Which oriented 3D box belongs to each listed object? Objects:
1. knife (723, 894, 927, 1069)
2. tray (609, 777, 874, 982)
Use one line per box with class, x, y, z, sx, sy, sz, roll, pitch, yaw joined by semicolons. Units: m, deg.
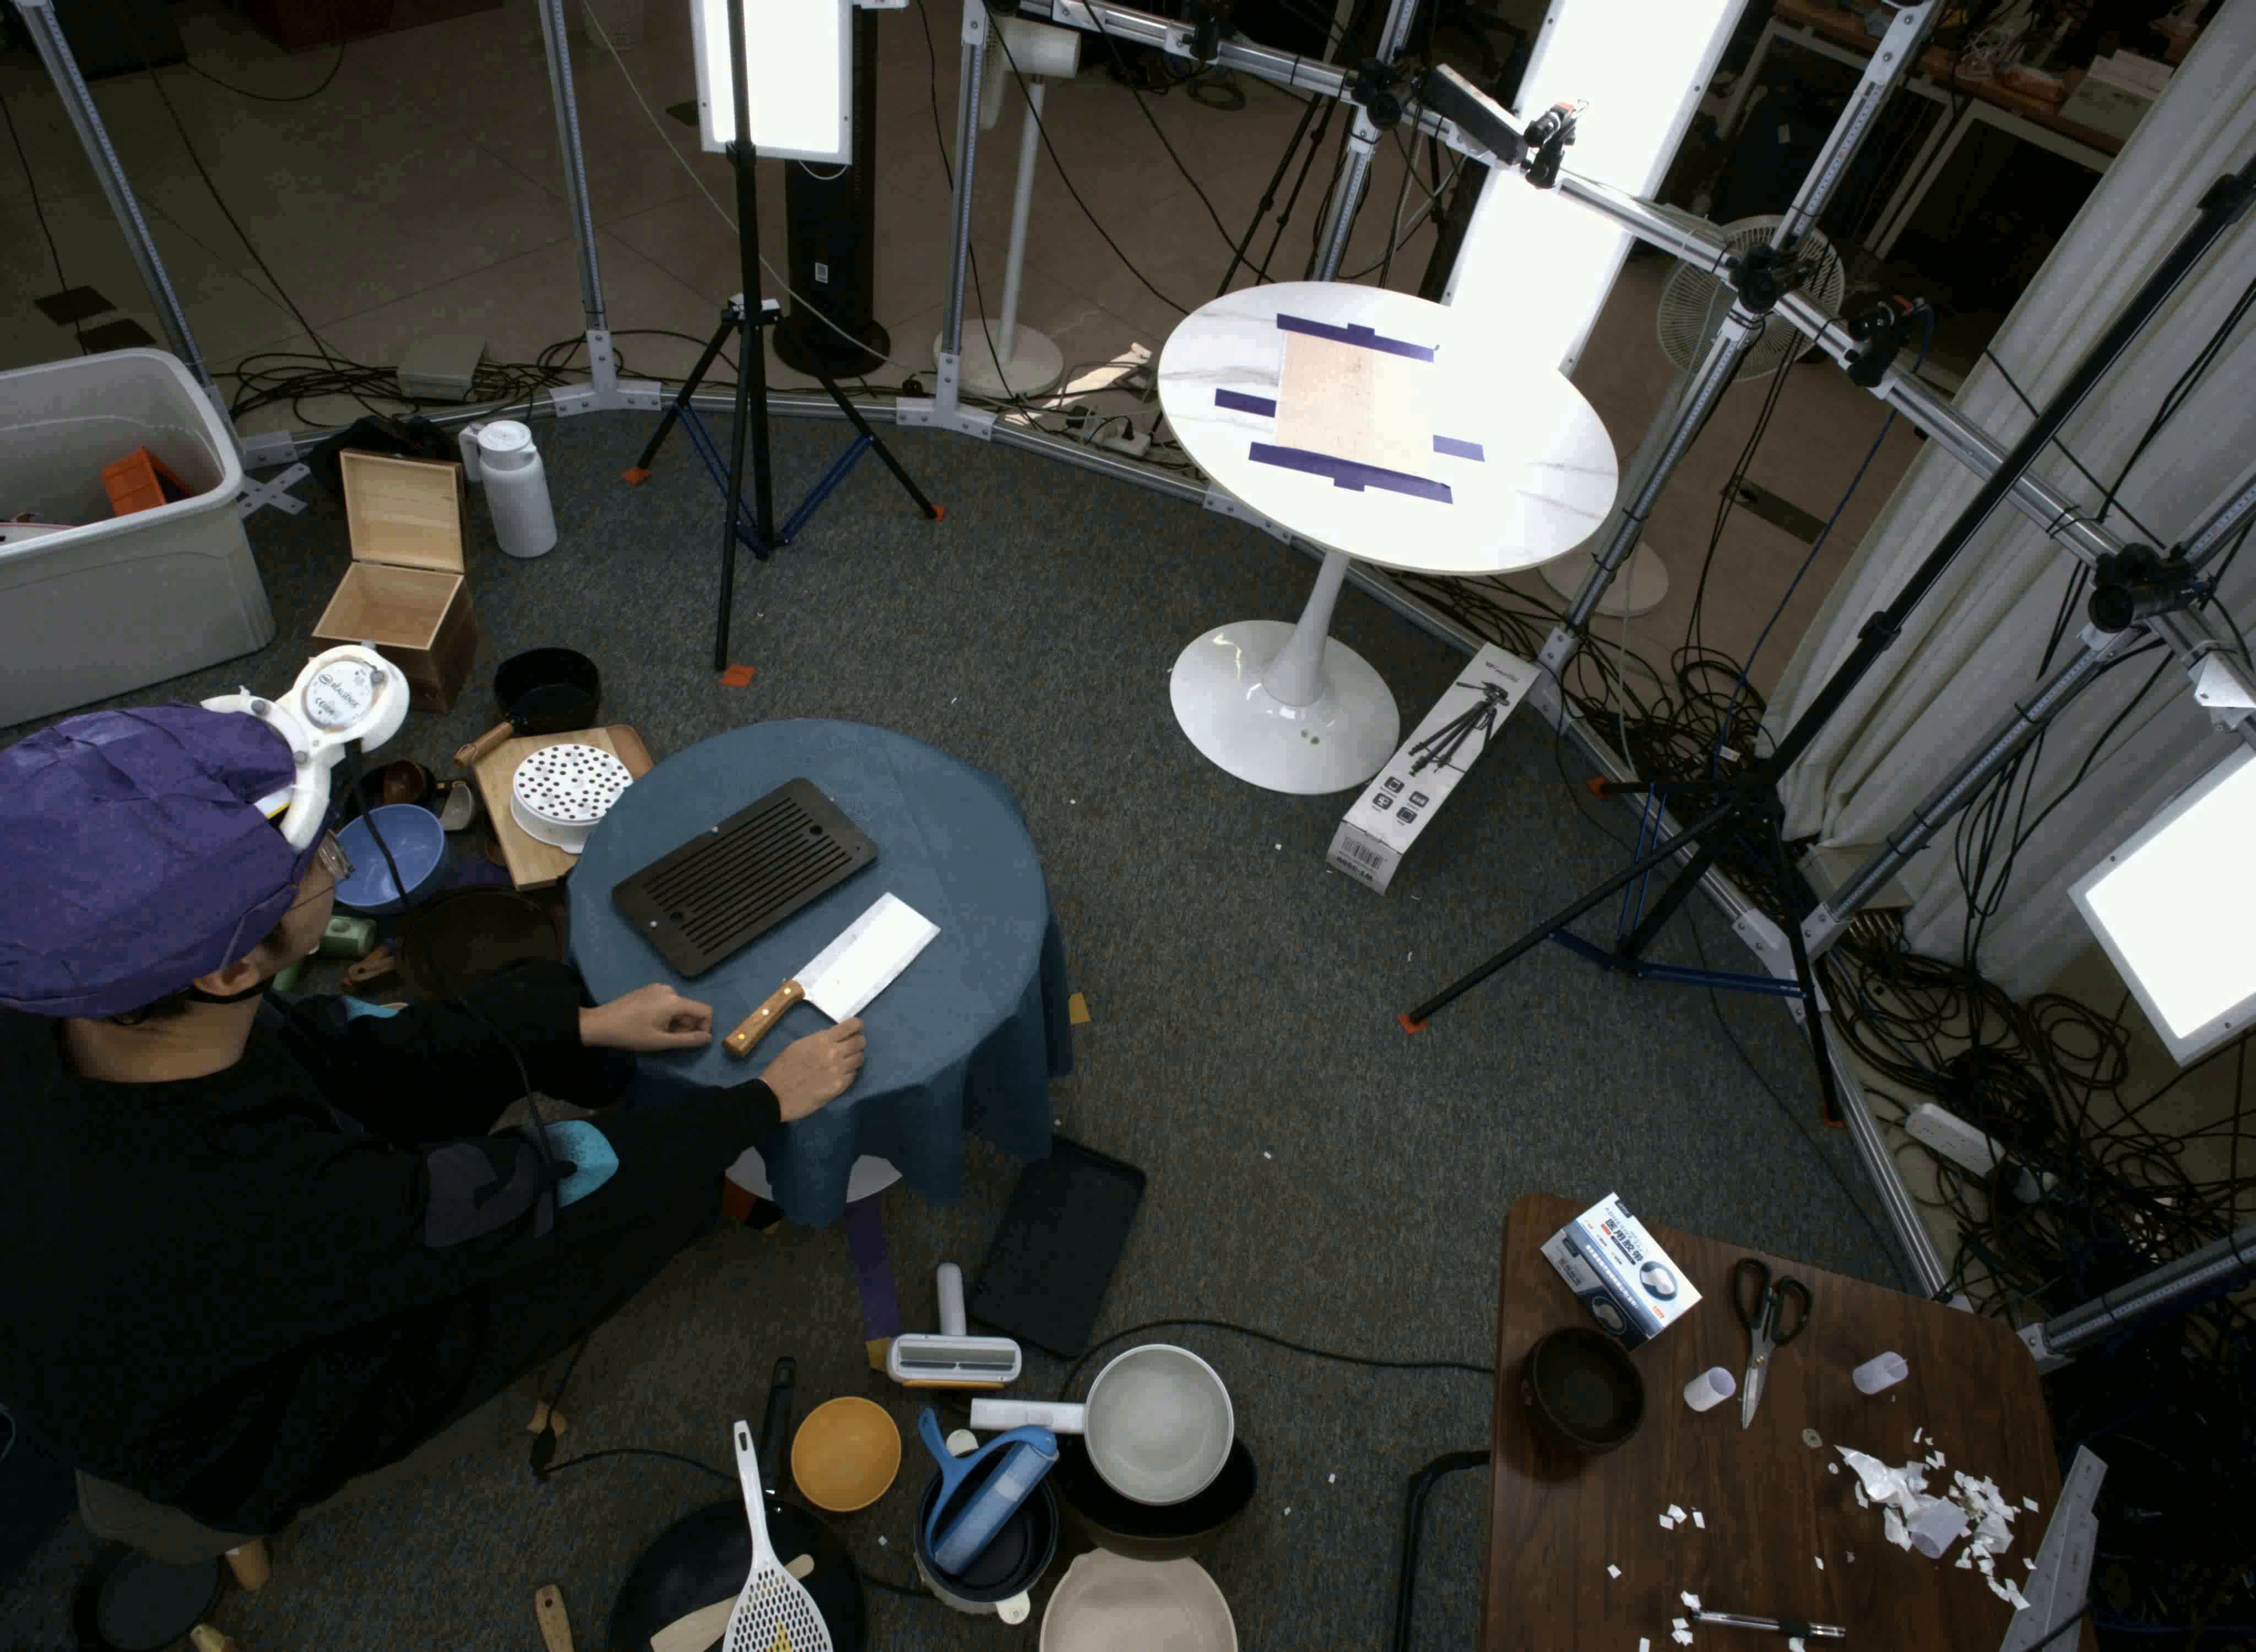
knife;-0.357;0.193;1.577;0.091;0.021;0.305;35;51;10
tray;-0.487;0.061;1.639;0.166;0.019;0.306;42;55;16
